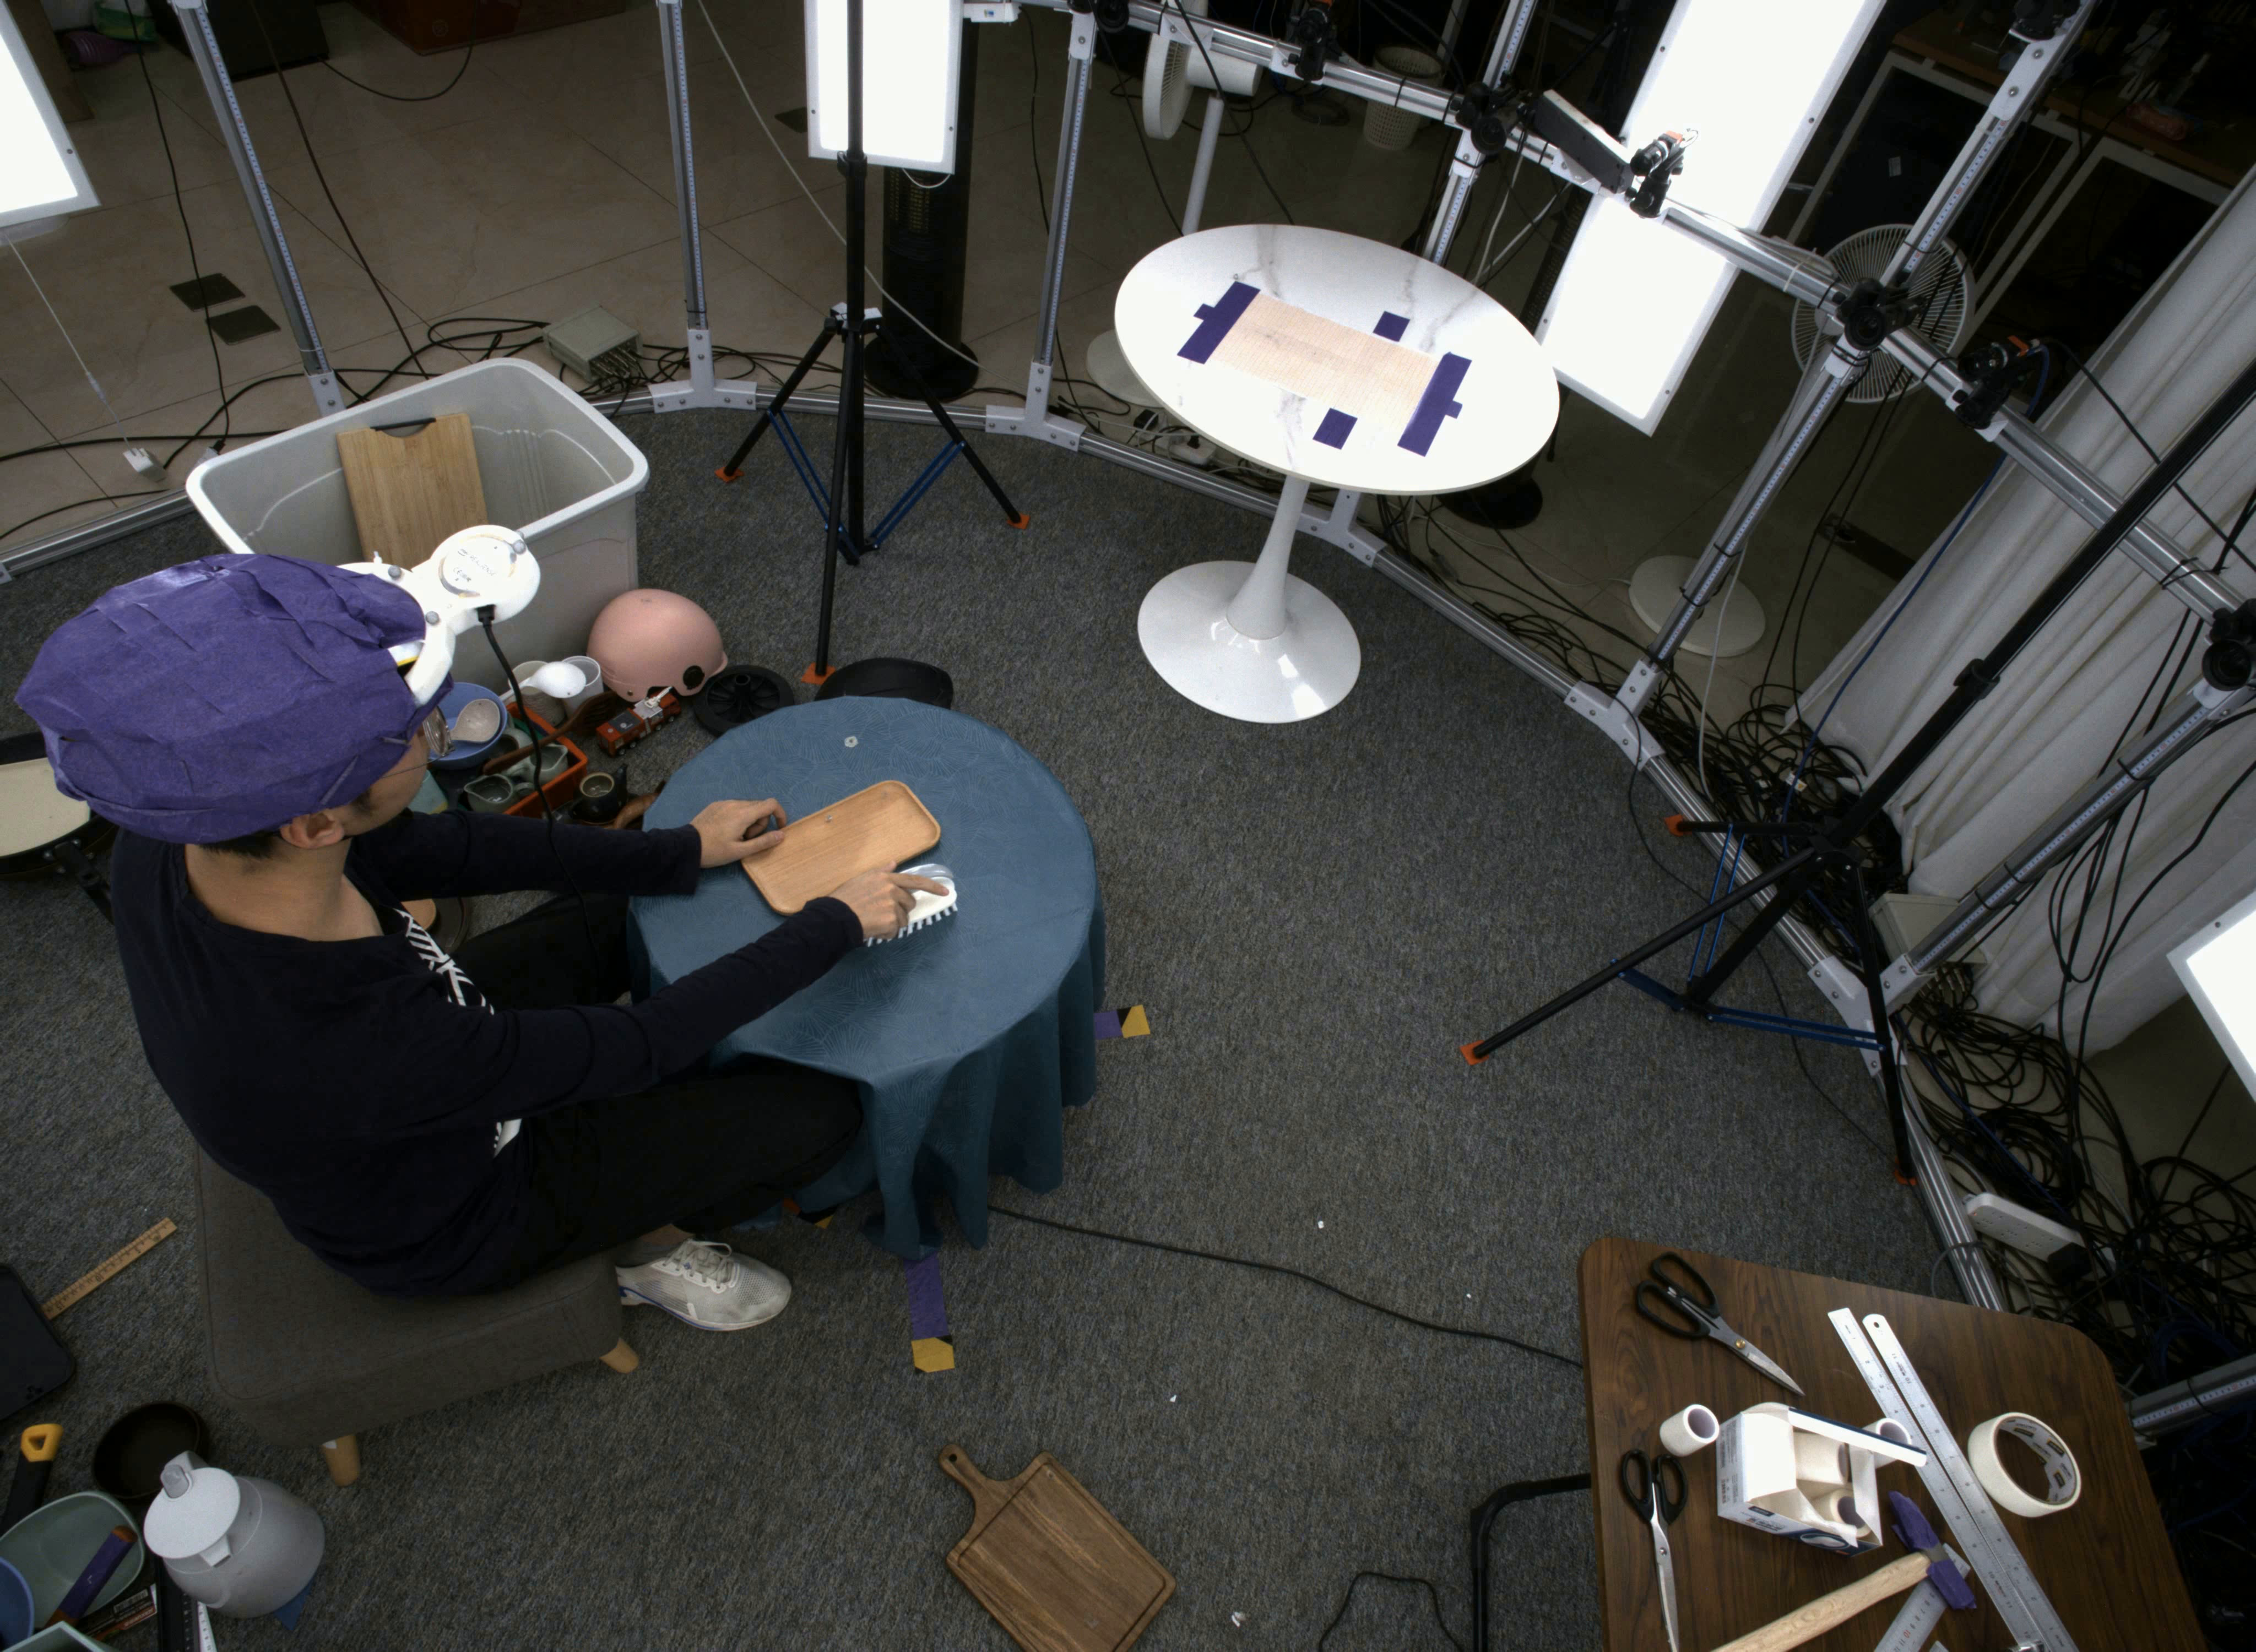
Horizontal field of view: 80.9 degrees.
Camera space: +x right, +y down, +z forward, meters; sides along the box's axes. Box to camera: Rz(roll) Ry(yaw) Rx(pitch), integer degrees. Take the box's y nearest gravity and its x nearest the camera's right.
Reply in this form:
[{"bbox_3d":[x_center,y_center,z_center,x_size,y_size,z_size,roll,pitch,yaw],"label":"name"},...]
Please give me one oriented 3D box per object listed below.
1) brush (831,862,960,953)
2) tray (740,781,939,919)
[{"bbox_3d":[-0.294,0.097,1.627,0.176,0.096,0.060,-25,60,-25],"label":"brush"},{"bbox_3d":[-0.377,0.028,1.706,0.251,0.023,0.127,-28,63,-28],"label":"tray"}]
